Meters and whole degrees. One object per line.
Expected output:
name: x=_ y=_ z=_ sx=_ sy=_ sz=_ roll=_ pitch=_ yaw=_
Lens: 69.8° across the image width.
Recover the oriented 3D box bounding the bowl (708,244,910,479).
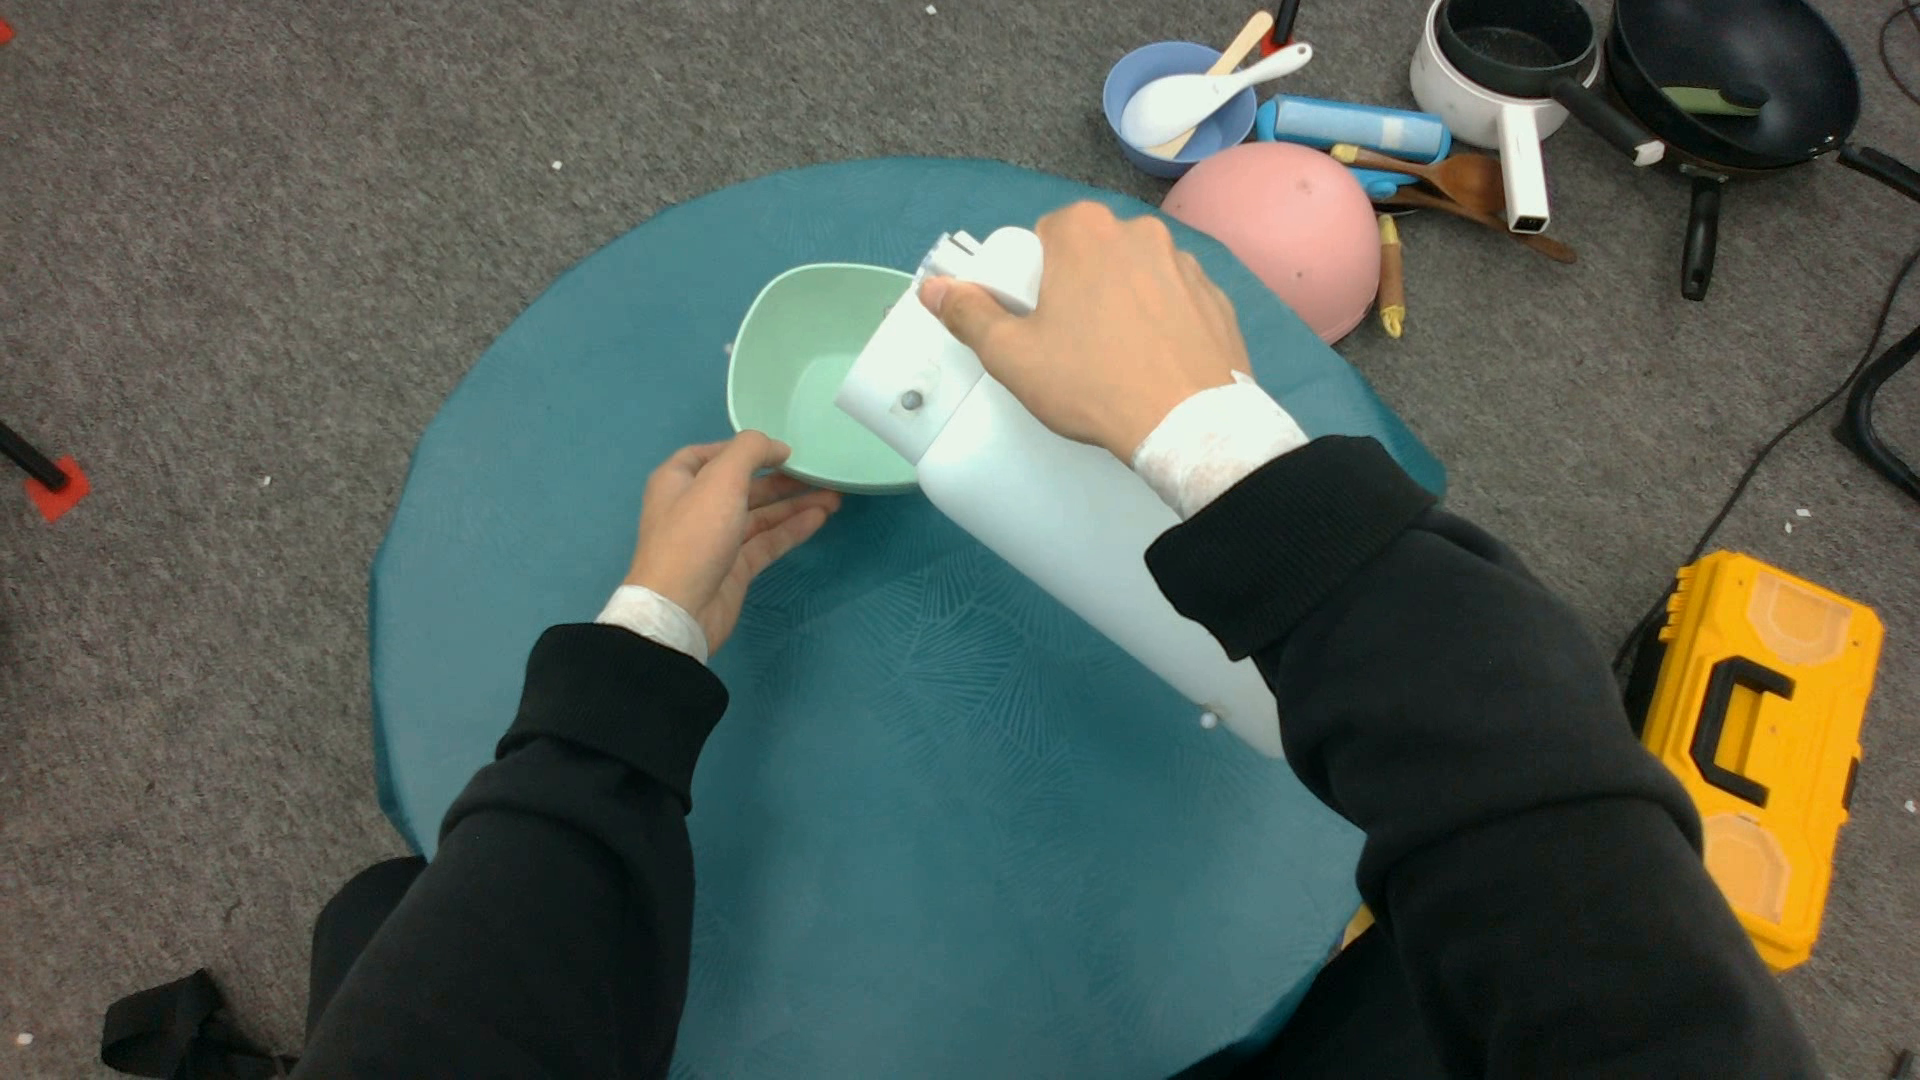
bowl: x=-0.068 y=-0.090 z=0.768 sx=0.151 sy=0.058 sz=0.152 roll=2 pitch=69 yaw=-6

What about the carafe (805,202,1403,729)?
carafe: x=0.070 y=-0.039 z=0.619 sx=0.269 sy=0.172 sz=0.124 roll=38 pitch=66 yaw=-3
